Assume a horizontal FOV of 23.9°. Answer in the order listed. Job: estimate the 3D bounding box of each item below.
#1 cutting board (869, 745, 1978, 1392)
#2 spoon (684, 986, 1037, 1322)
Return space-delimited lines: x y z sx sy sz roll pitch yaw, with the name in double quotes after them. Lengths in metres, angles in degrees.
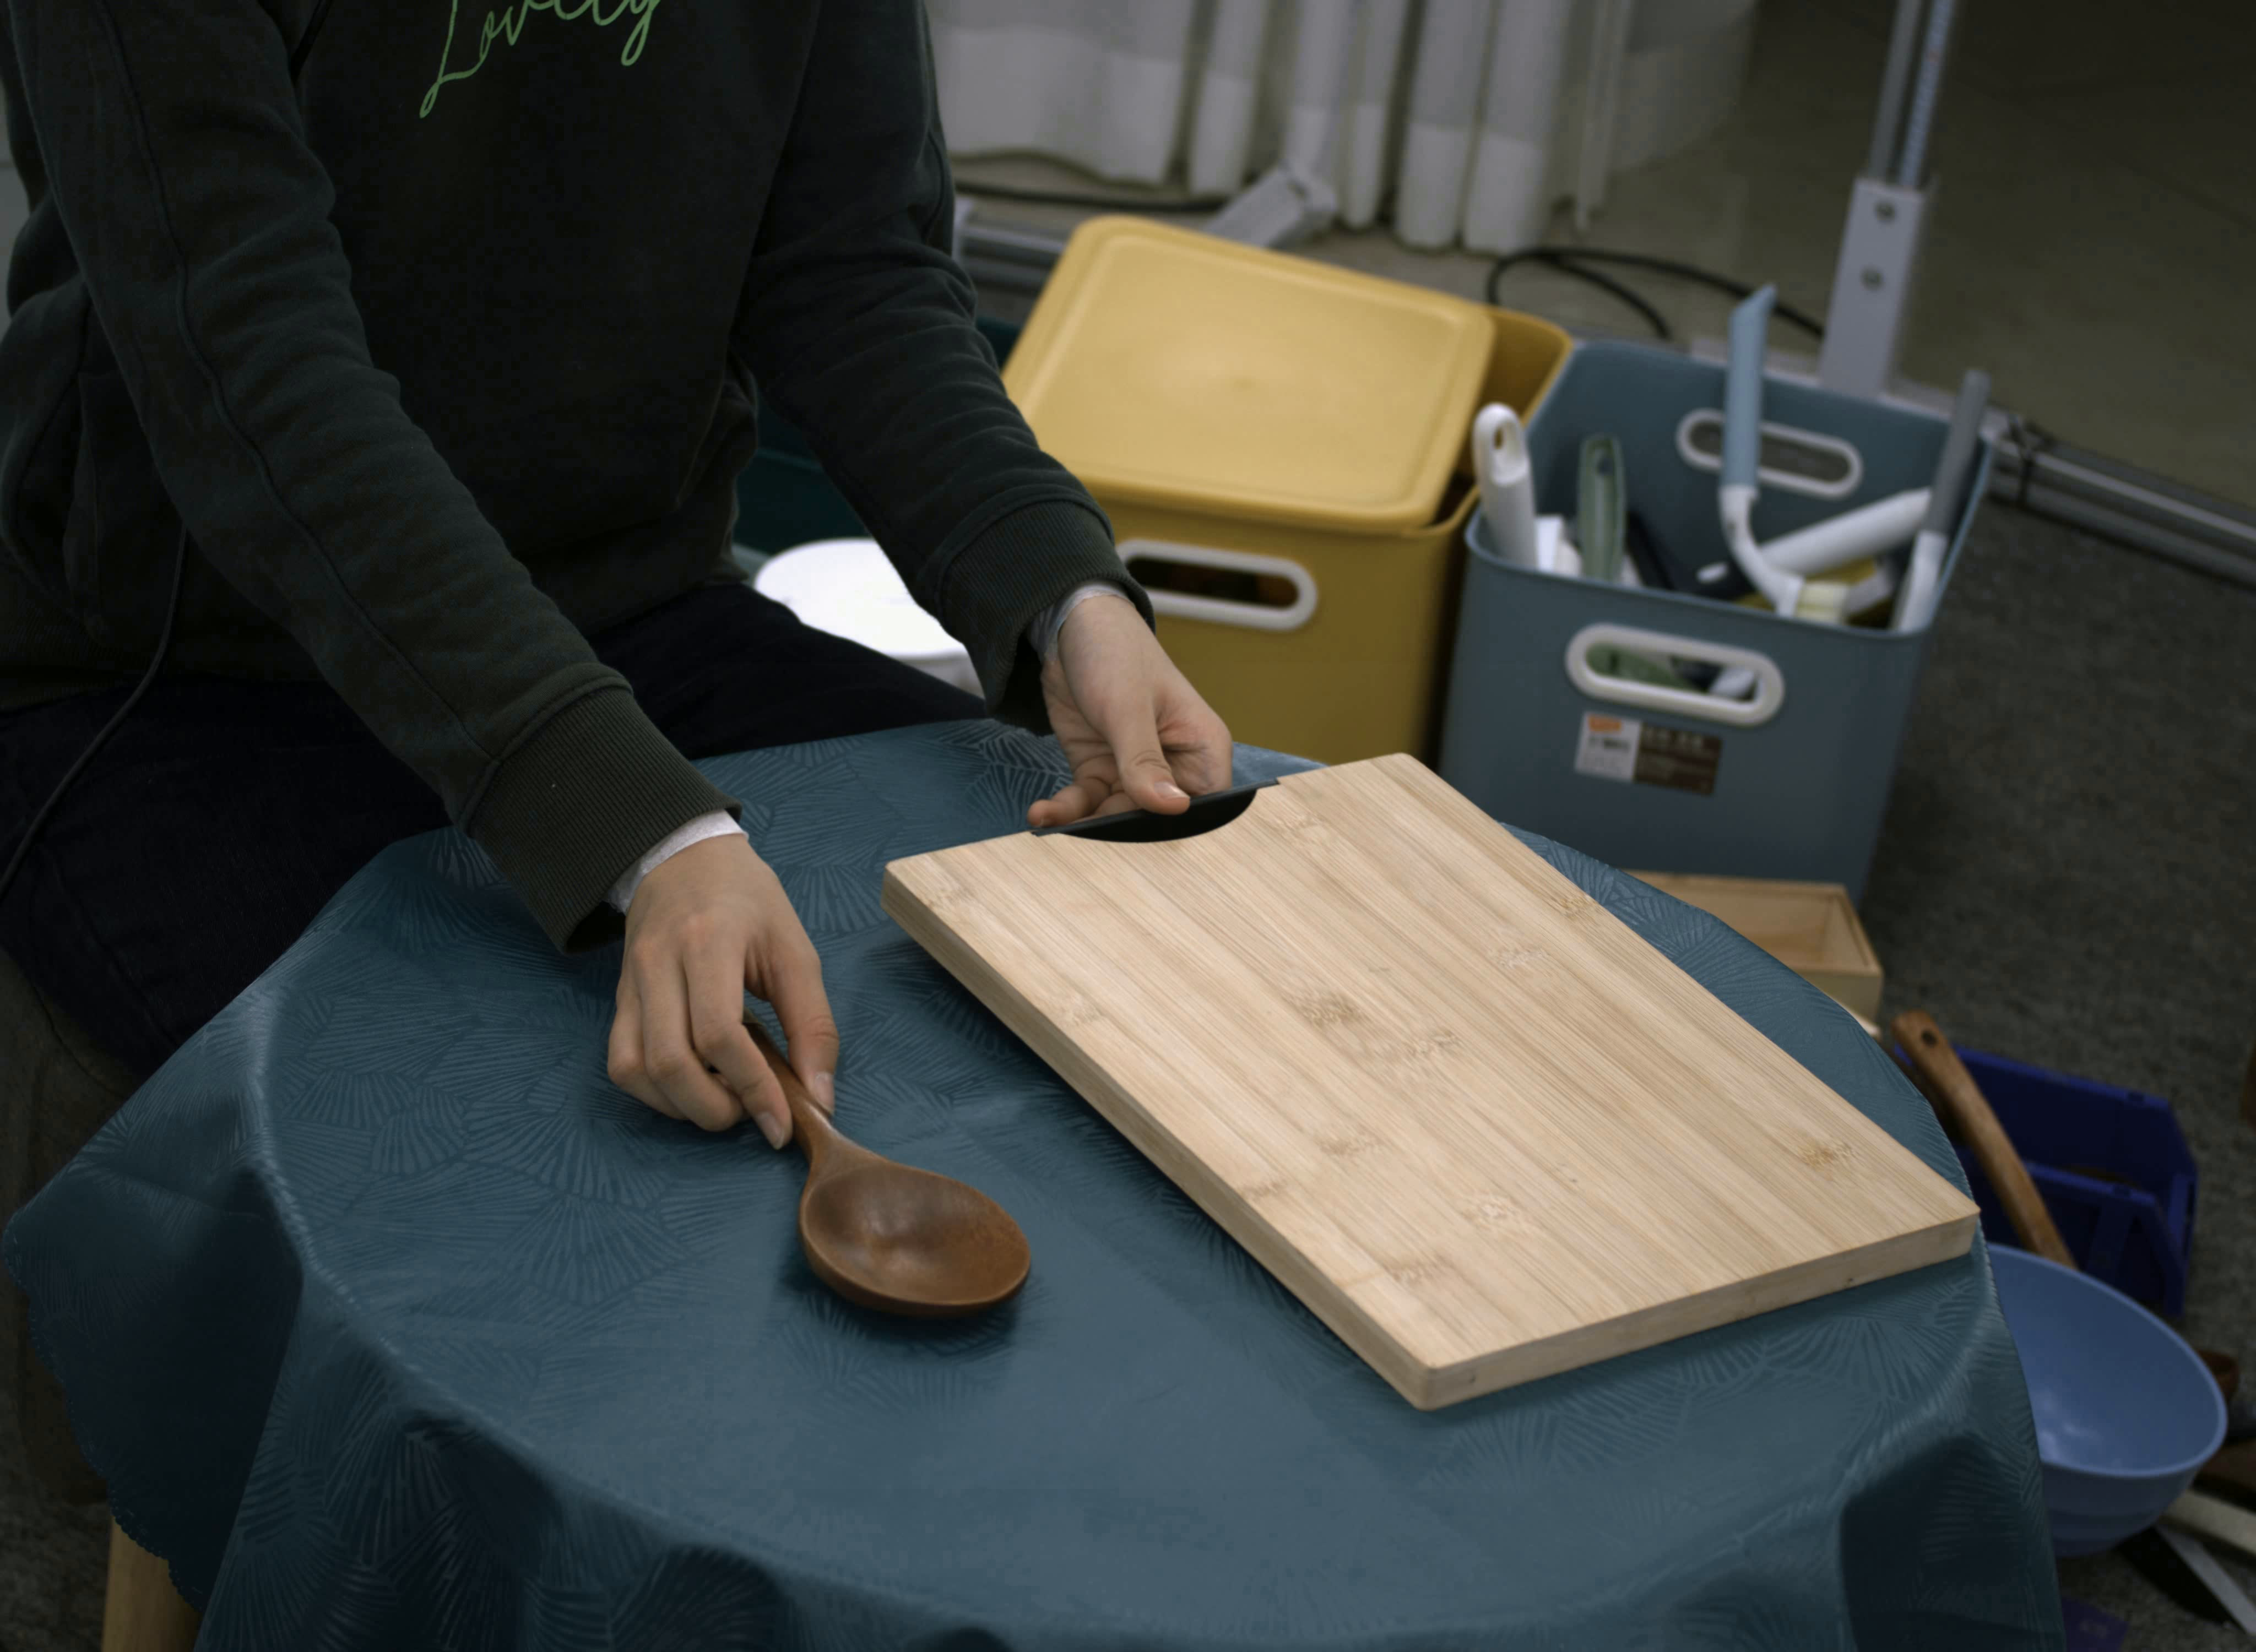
0.097 0.077 1.879 0.249 0.023 0.352 -12 35 -33 "cutting board"
-0.098 0.110 1.785 0.075 0.017 0.218 -10 31 -26 "spoon"
